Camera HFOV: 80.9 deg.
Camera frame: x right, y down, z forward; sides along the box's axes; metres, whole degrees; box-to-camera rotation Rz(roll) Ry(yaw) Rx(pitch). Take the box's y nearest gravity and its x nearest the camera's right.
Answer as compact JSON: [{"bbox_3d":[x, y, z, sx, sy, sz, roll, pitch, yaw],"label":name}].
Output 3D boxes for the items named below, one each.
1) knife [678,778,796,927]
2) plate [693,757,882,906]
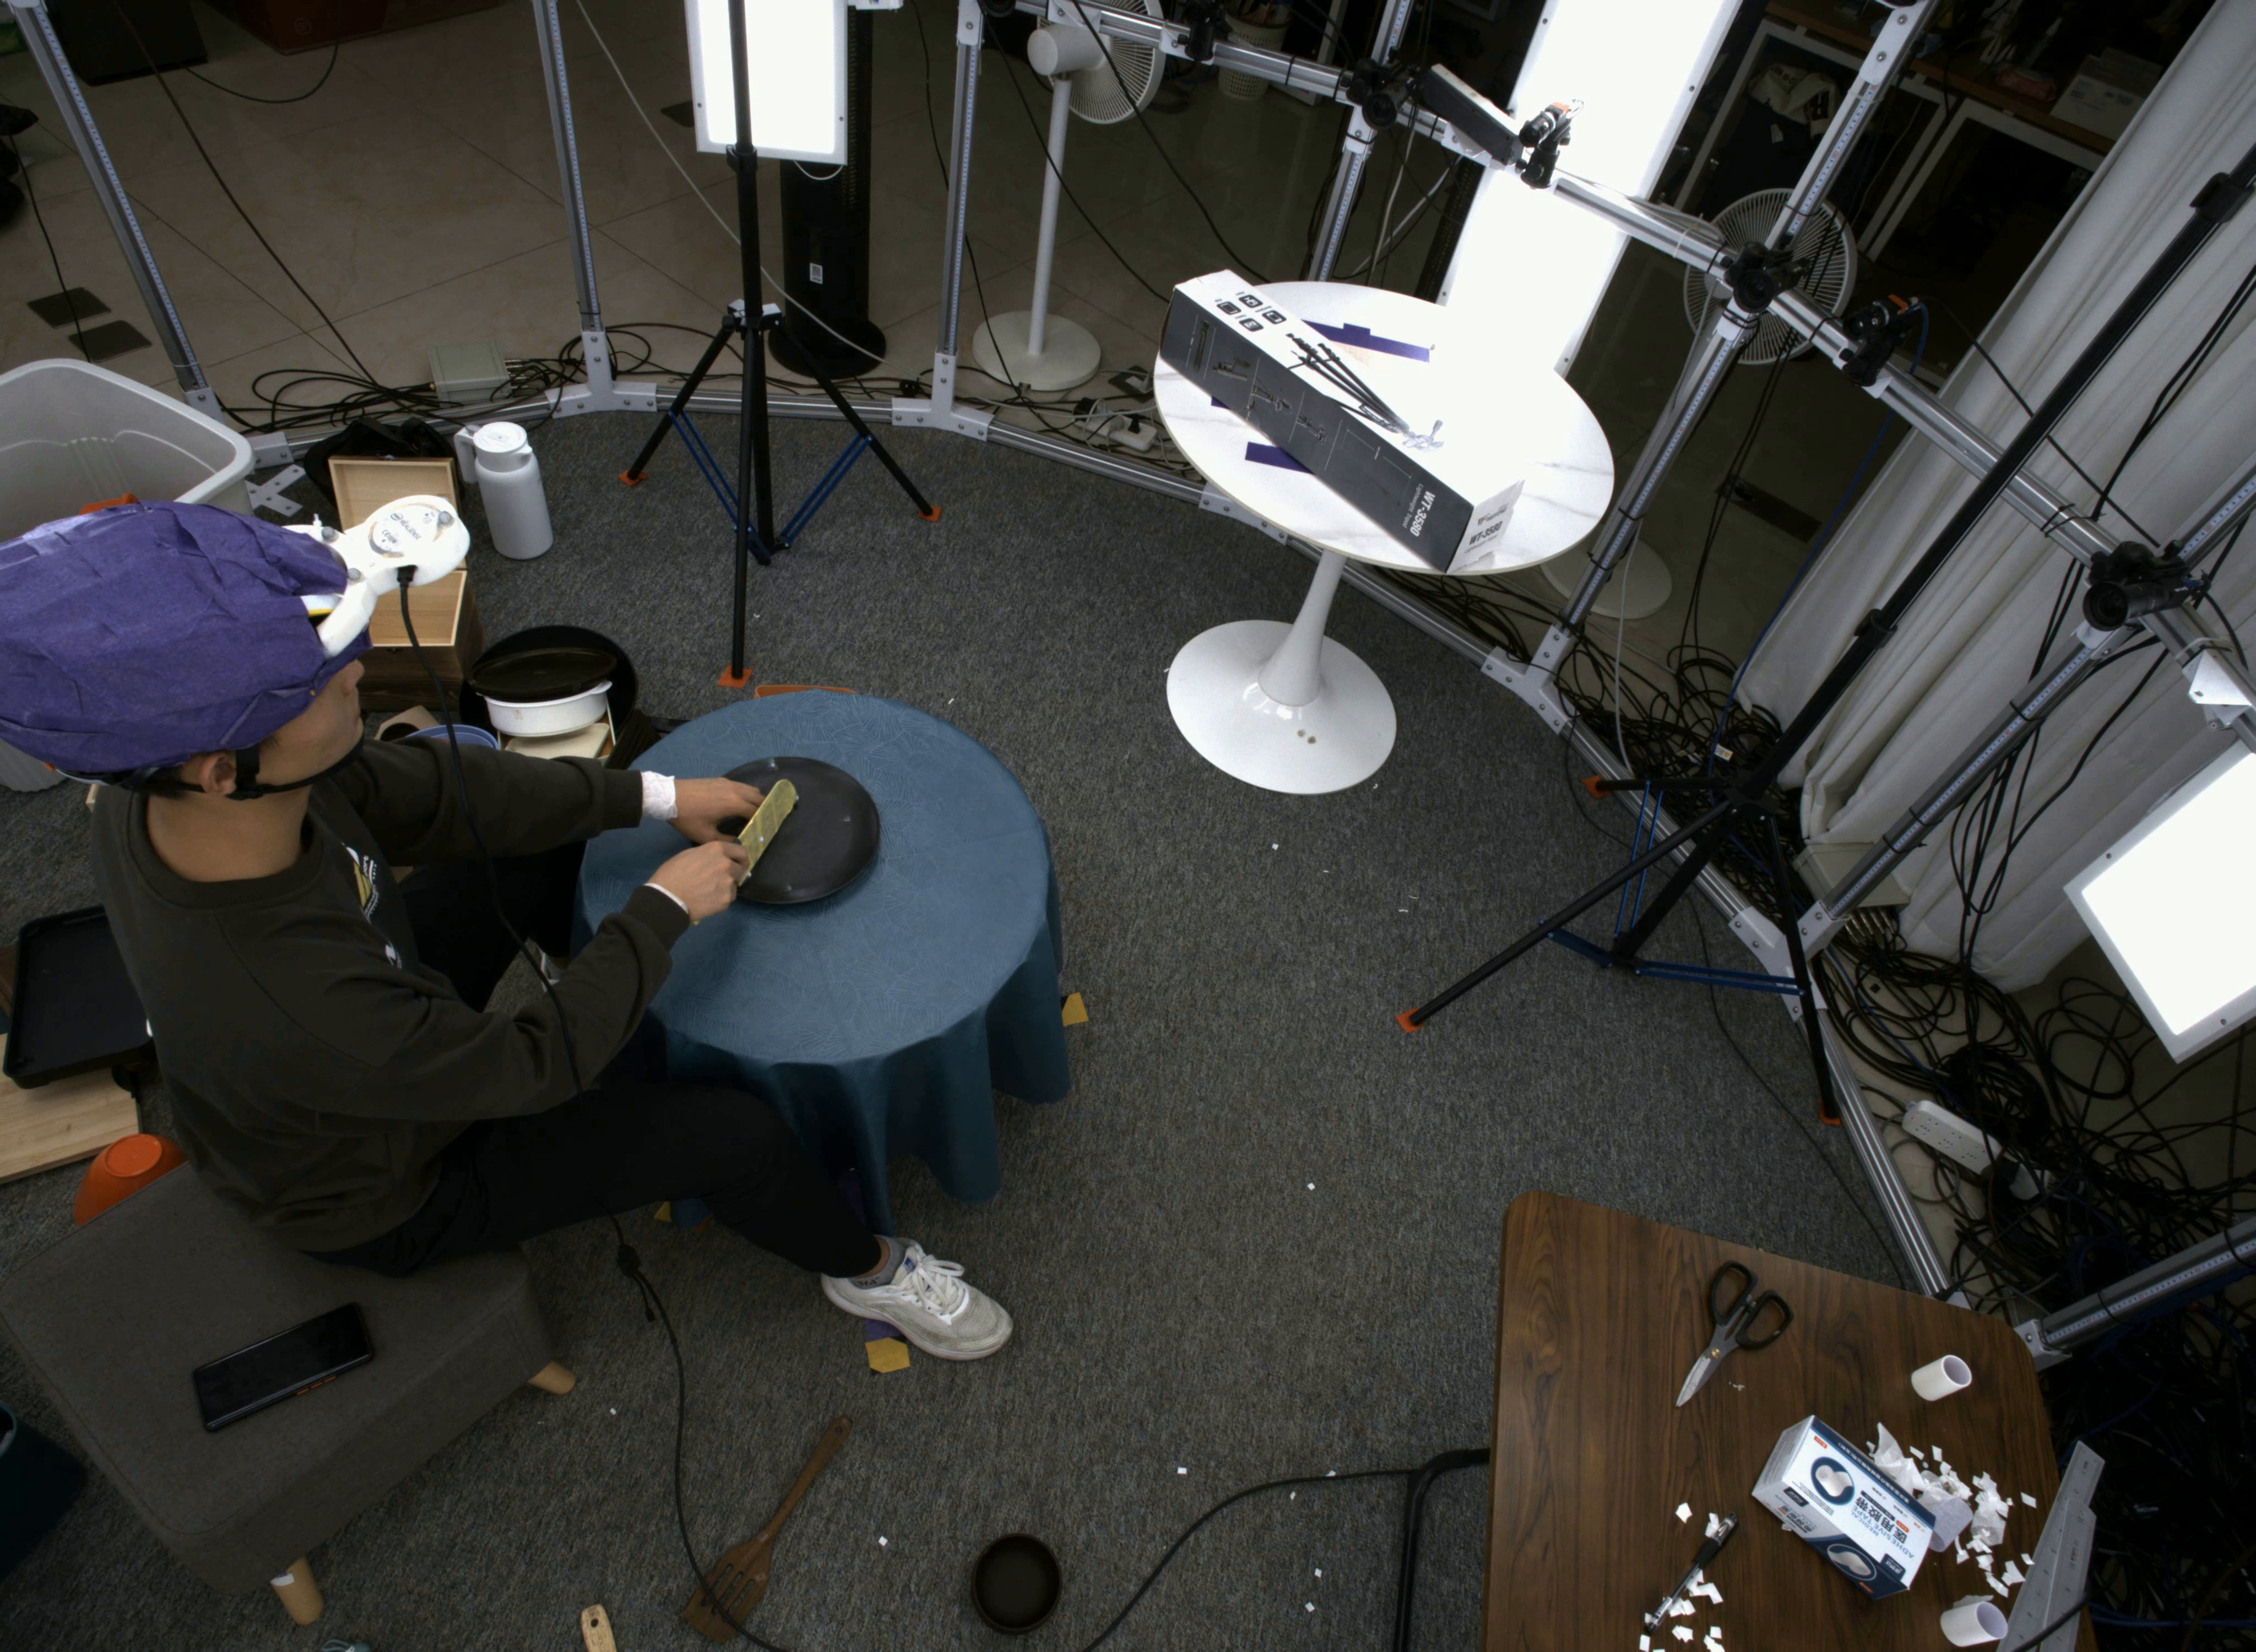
[{"bbox_3d":[-0.481,0.033,1.620,0.027,0.083,0.286,13,40,10],"label":"knife"},{"bbox_3d":[-0.448,0.007,1.709,0.244,0.024,0.240,8,53,-8],"label":"plate"}]
